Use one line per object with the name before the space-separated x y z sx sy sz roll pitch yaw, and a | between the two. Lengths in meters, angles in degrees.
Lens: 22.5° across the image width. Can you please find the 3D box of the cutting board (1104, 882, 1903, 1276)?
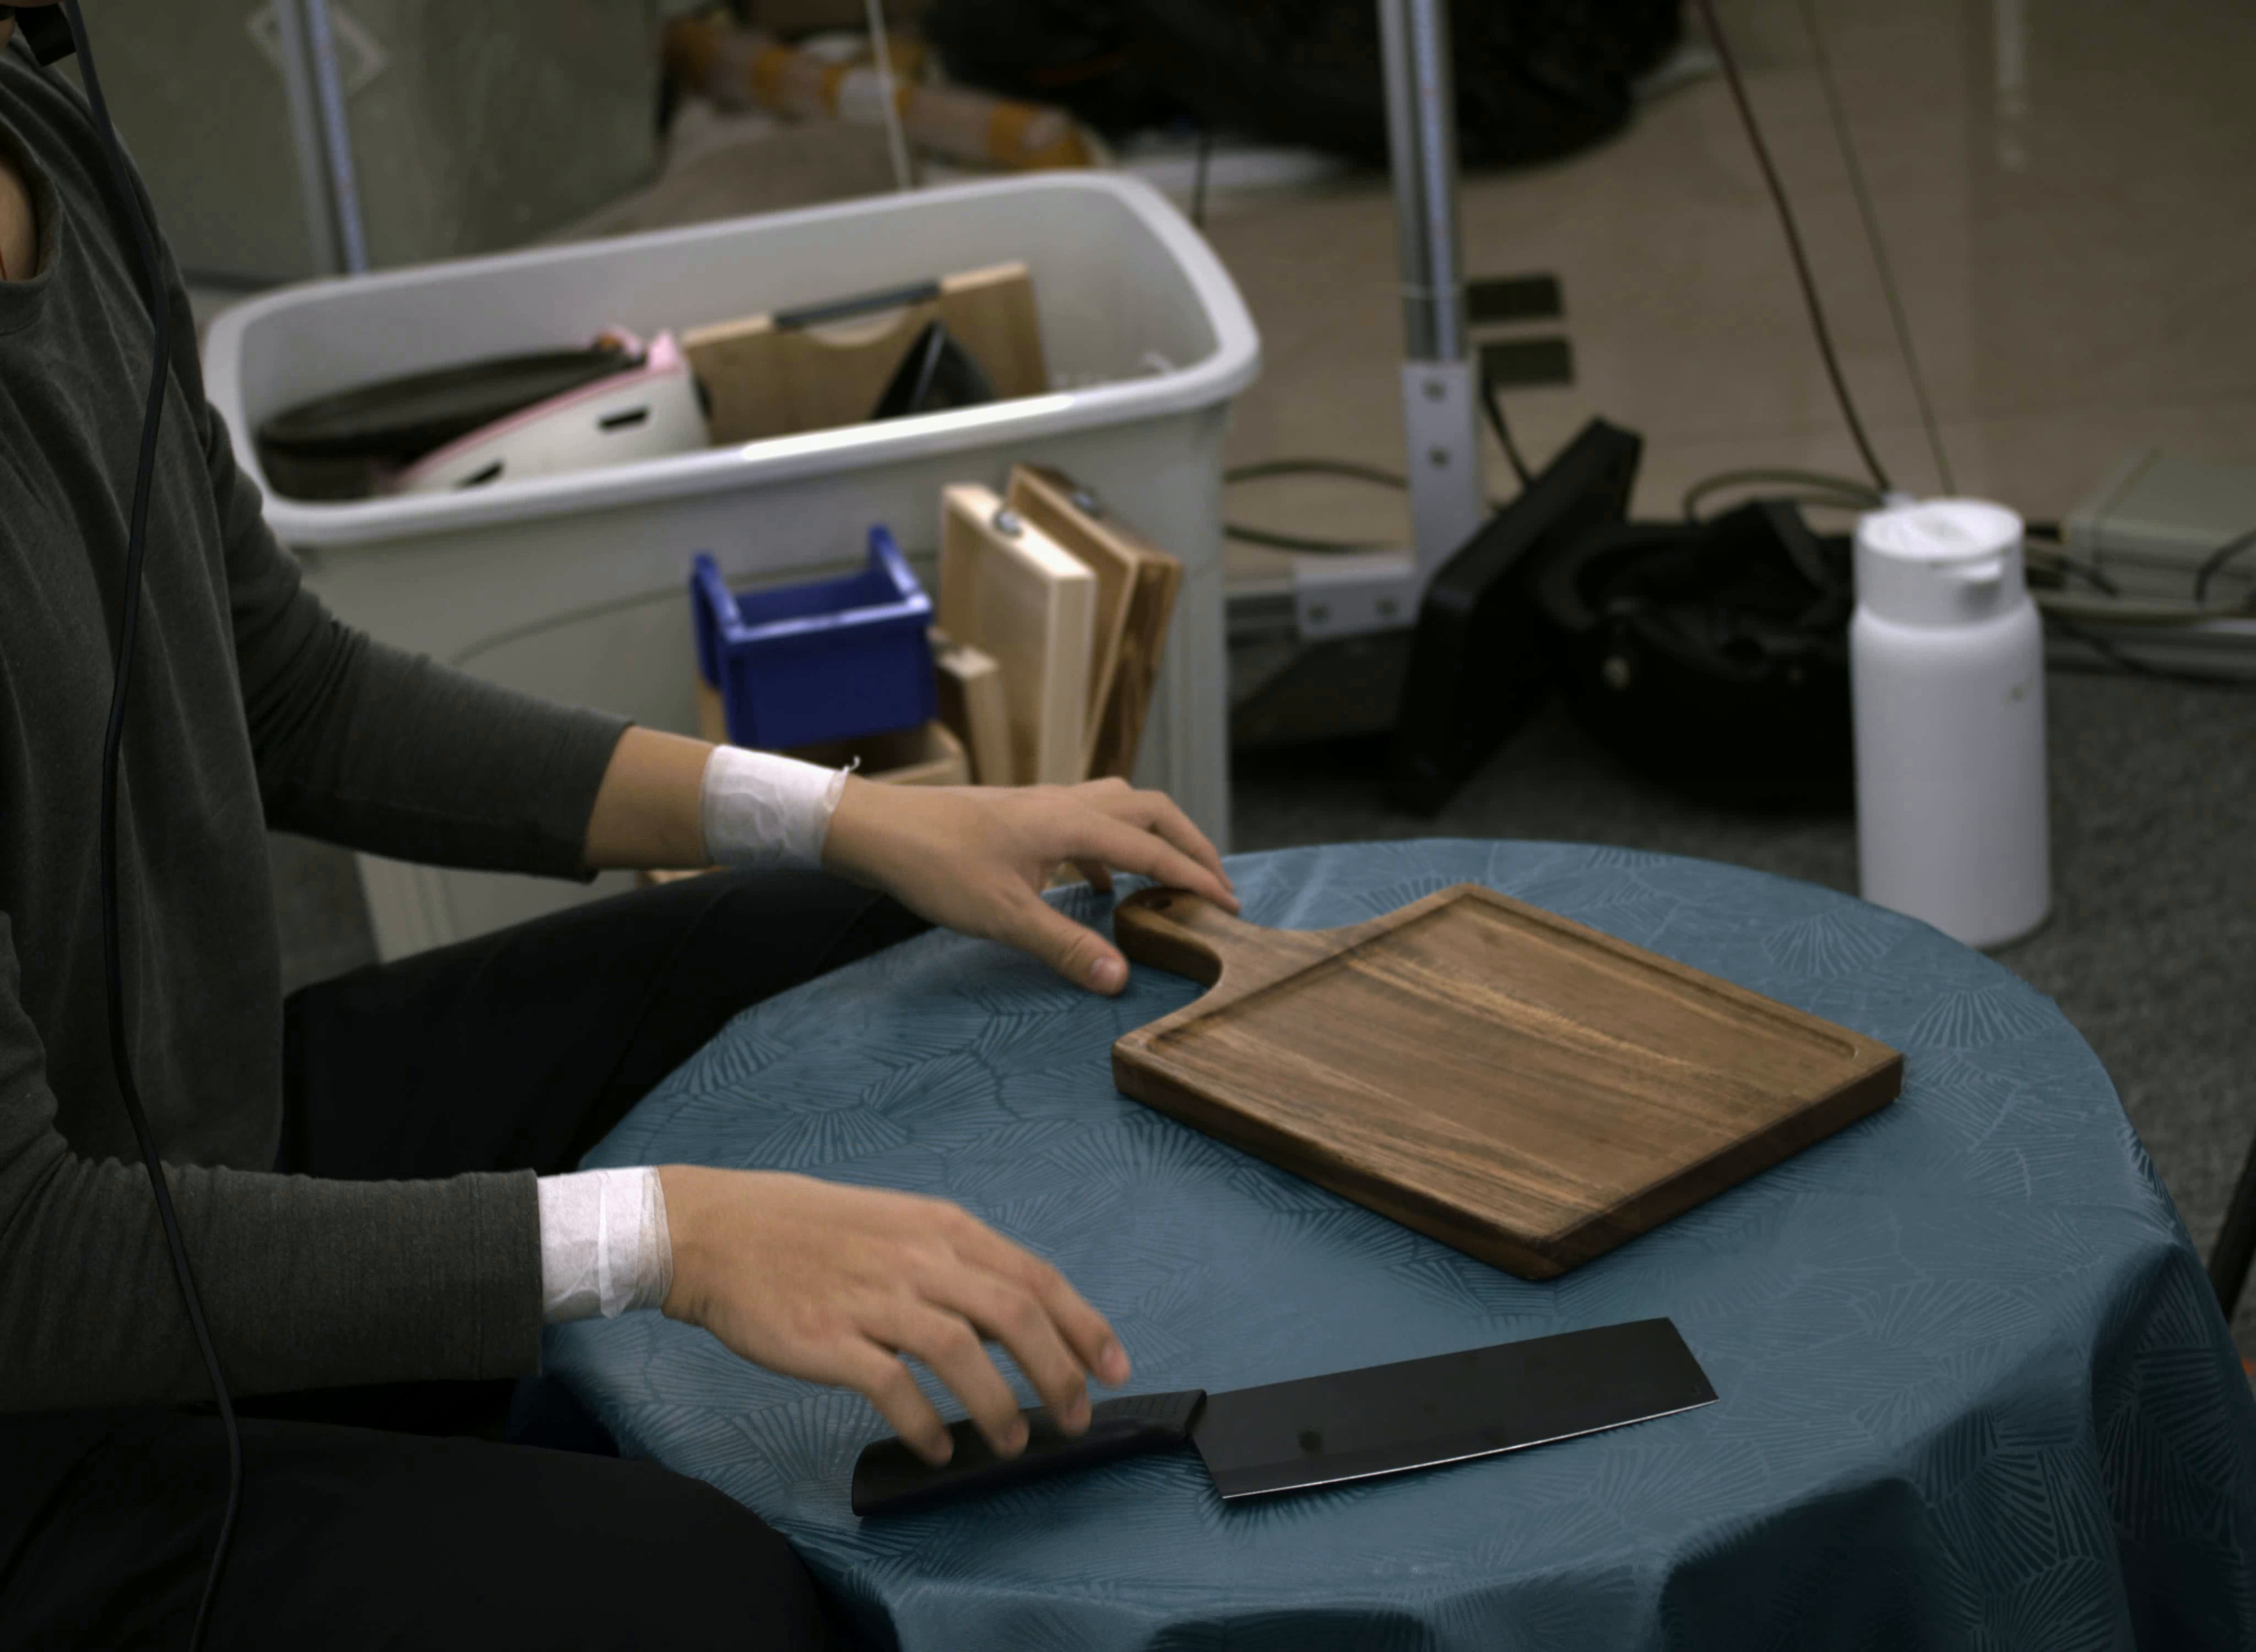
cutting board | 0.112 0.080 2.225 0.199 0.023 0.349 -24 30 -34

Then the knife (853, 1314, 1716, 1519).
knife | 0.053 0.209 1.972 0.302 0.021 0.080 -7 26 -6
